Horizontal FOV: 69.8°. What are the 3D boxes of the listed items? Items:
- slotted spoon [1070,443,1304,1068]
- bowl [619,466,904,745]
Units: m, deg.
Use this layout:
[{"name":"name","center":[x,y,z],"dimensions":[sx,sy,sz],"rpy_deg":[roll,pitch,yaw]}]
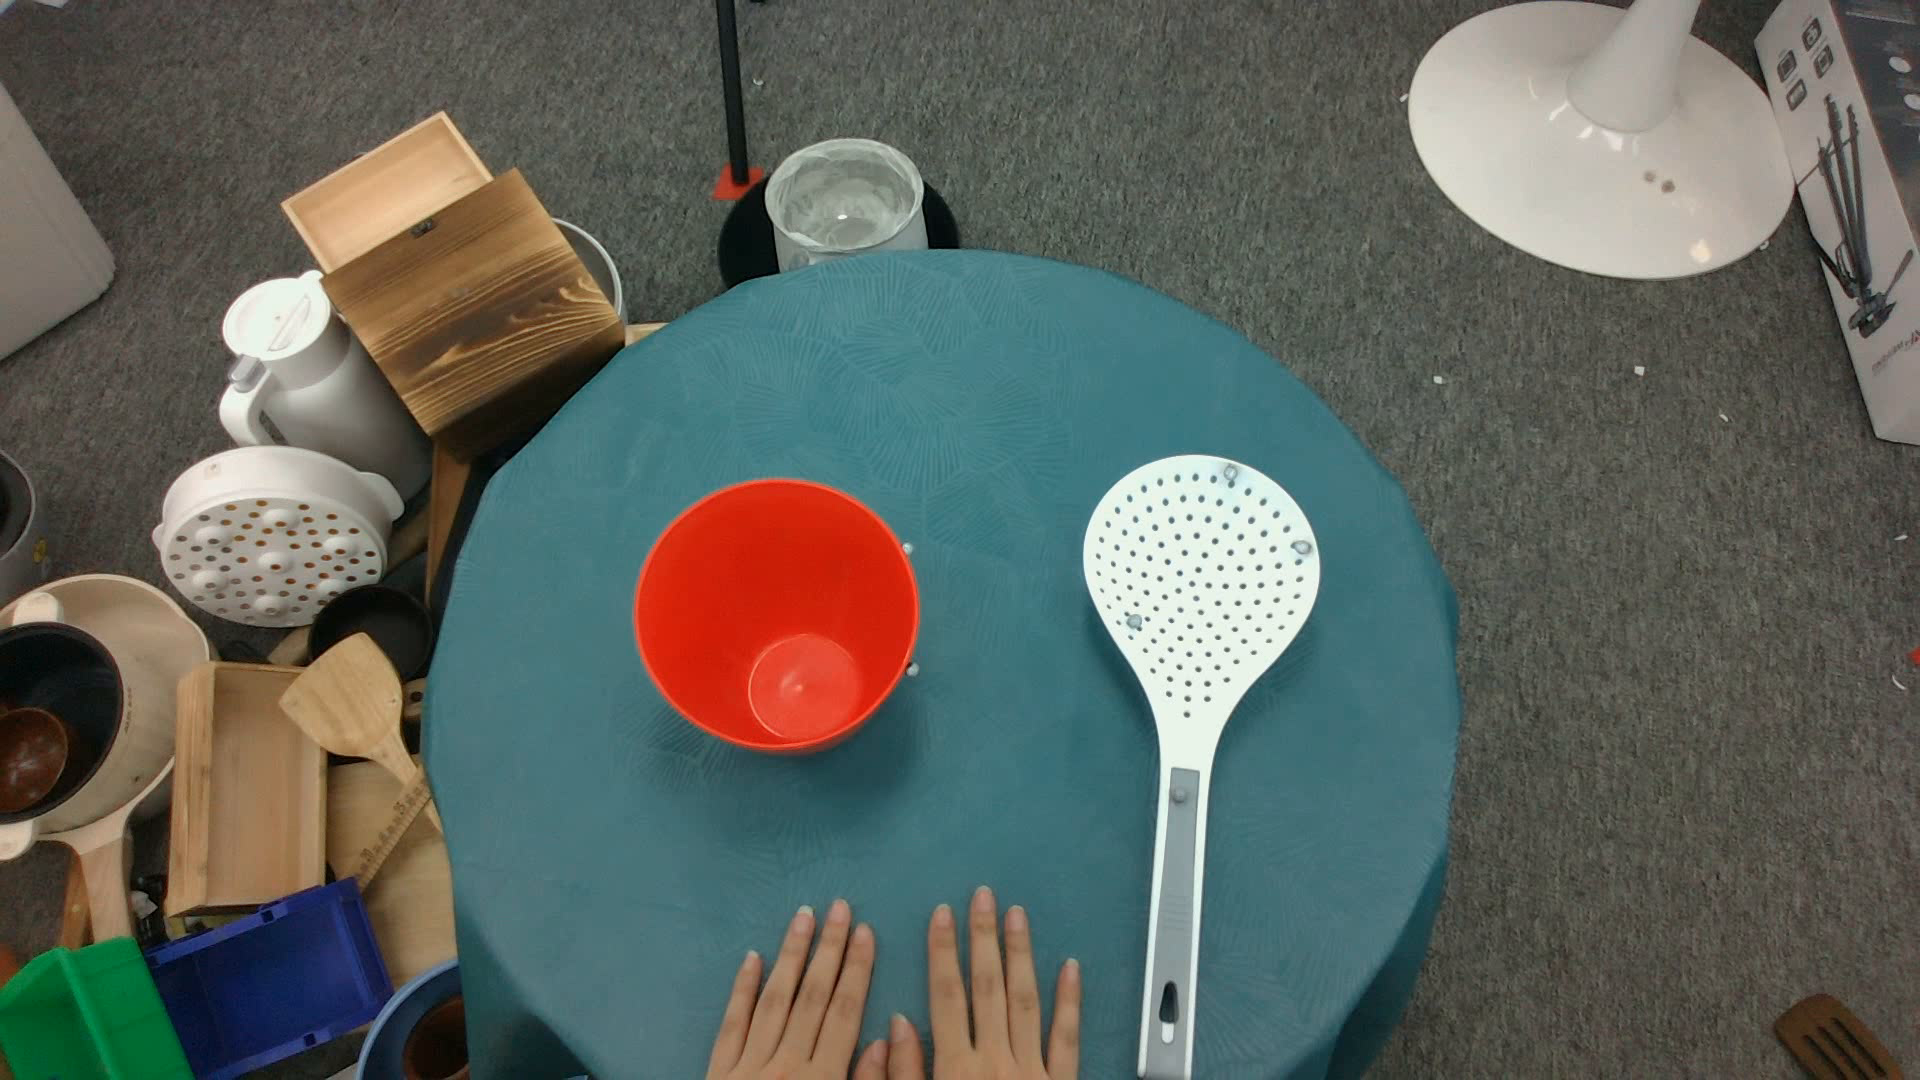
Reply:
[{"name":"slotted spoon","center":[0.117,0.105,0.762],"dimensions":[0.136,0.045,0.351],"rpy_deg":[7,61,4]},{"name":"bowl","center":[-0.105,0.048,0.756],"dimensions":[0.148,0.104,0.148],"rpy_deg":[2,61,-3]}]
